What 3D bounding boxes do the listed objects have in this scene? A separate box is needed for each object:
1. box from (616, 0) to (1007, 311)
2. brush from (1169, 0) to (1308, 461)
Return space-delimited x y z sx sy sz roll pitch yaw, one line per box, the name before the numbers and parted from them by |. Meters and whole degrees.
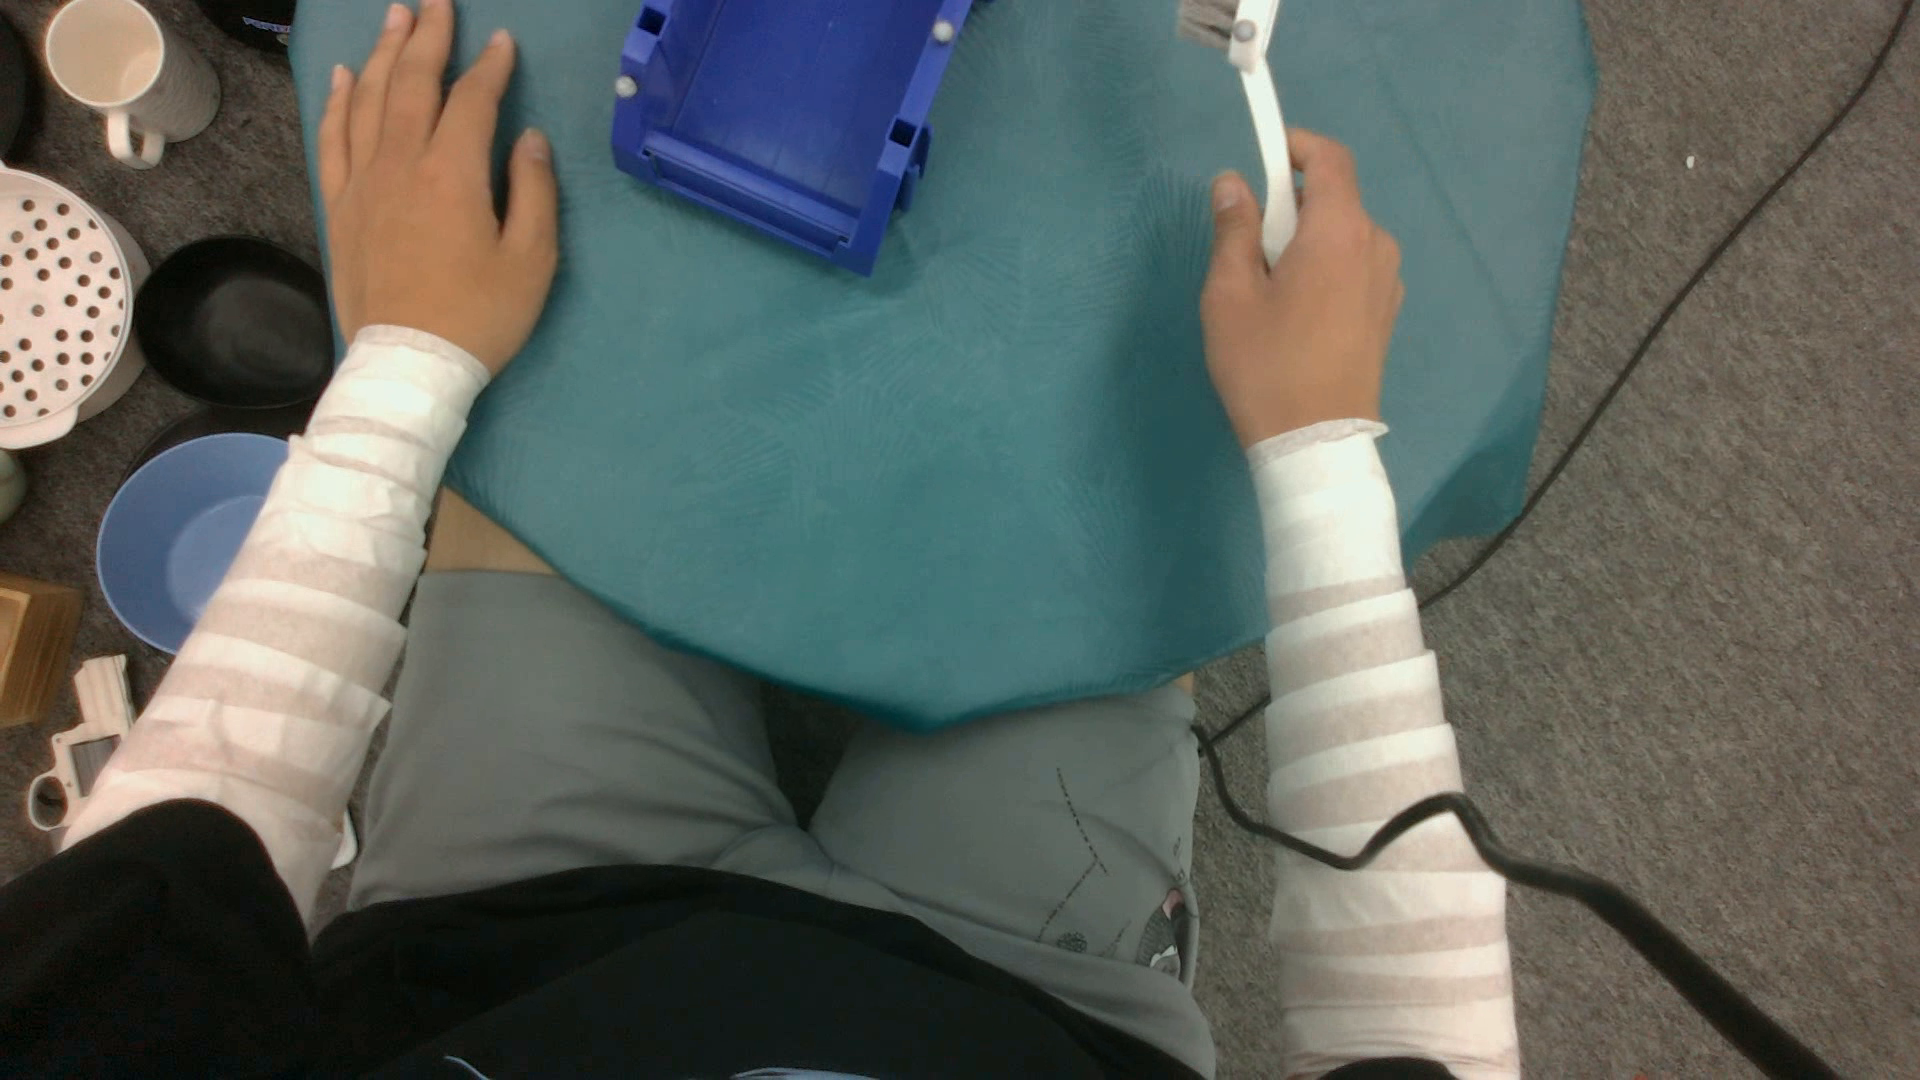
box | -0.060 -0.209 0.608 0.124 0.082 0.179 23 86 -5
brush | 0.122 -0.148 0.596 0.050 0.034 0.243 1 116 22
